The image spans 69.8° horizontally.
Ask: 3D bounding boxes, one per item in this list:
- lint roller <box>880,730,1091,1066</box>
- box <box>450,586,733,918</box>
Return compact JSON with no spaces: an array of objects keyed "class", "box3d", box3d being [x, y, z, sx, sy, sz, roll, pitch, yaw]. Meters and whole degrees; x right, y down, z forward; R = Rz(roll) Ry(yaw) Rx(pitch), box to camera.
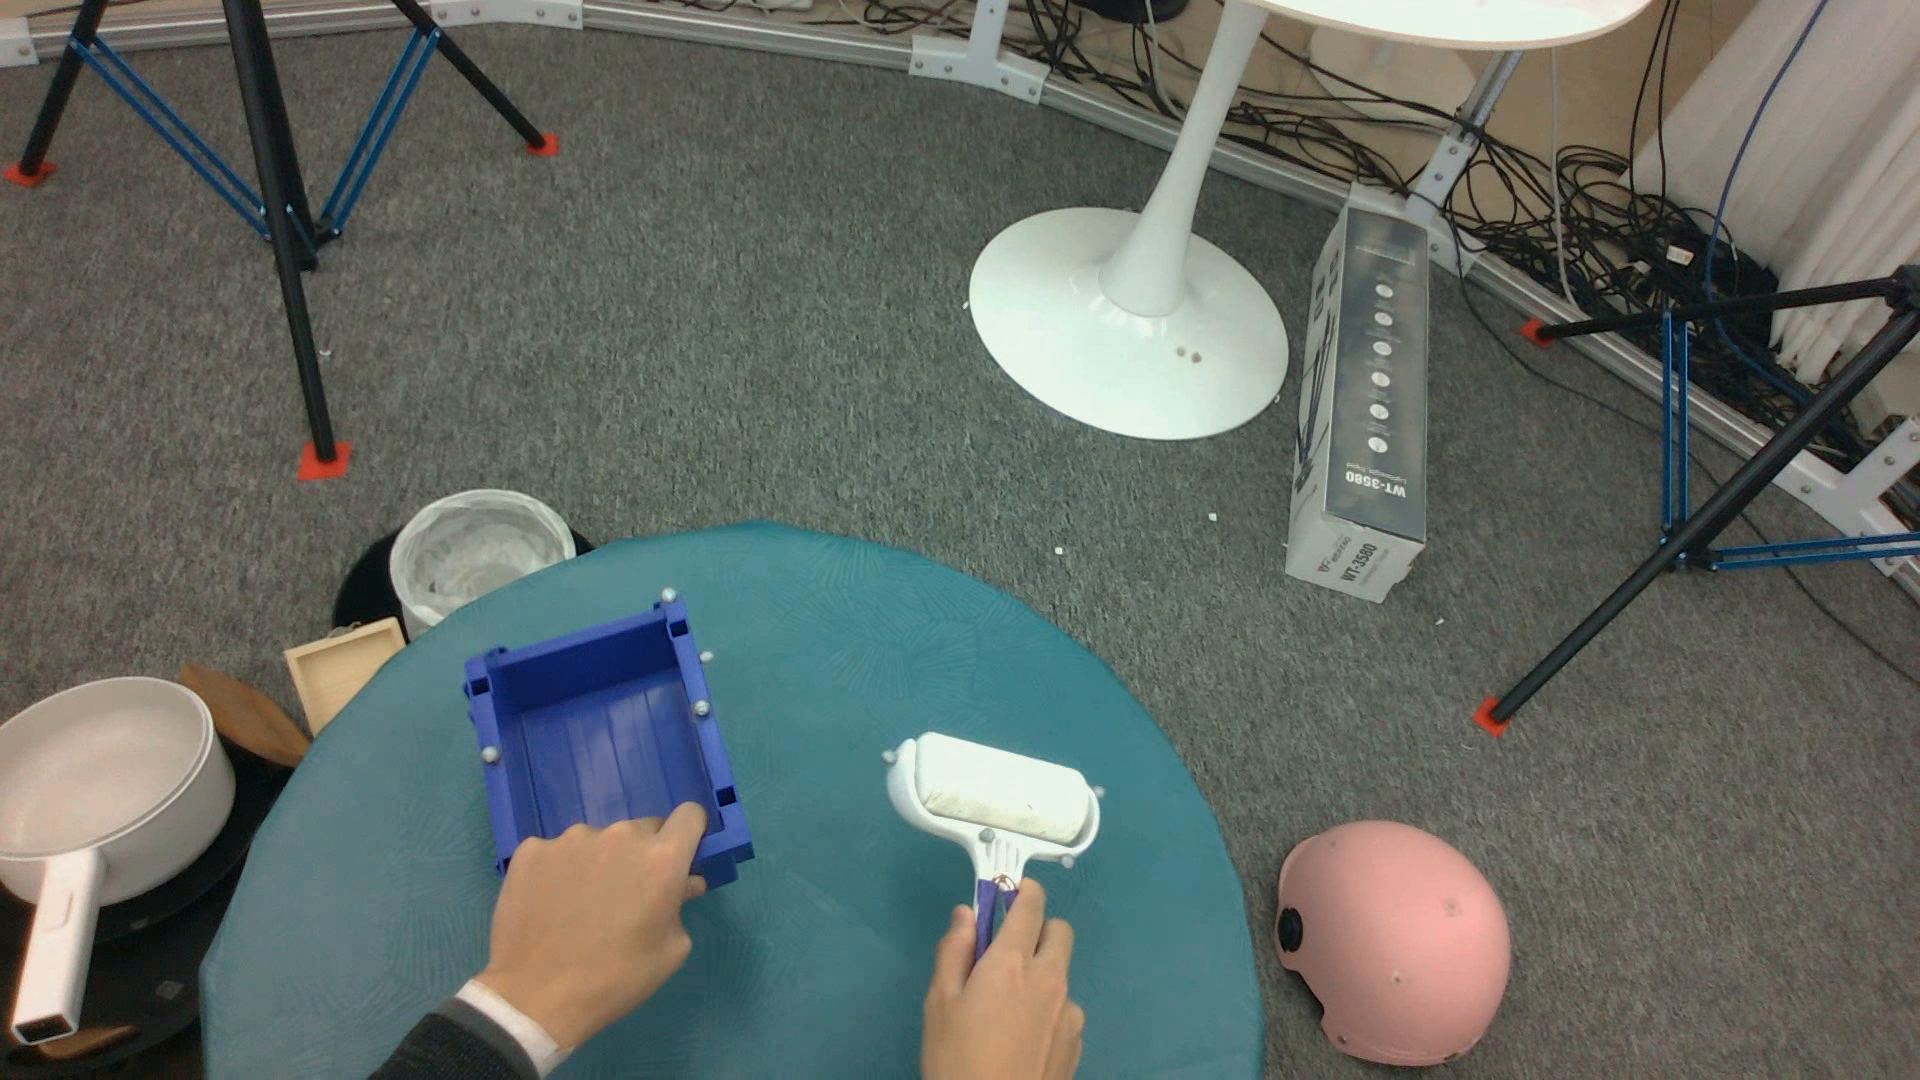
[{"class":"lint roller","box3d":[0.019,0.193,0.760,0.133,0.050,0.181,21,41,-23]},{"class":"box","box3d":[-0.208,0.112,0.769,0.125,0.081,0.180,-16,60,-12]}]
